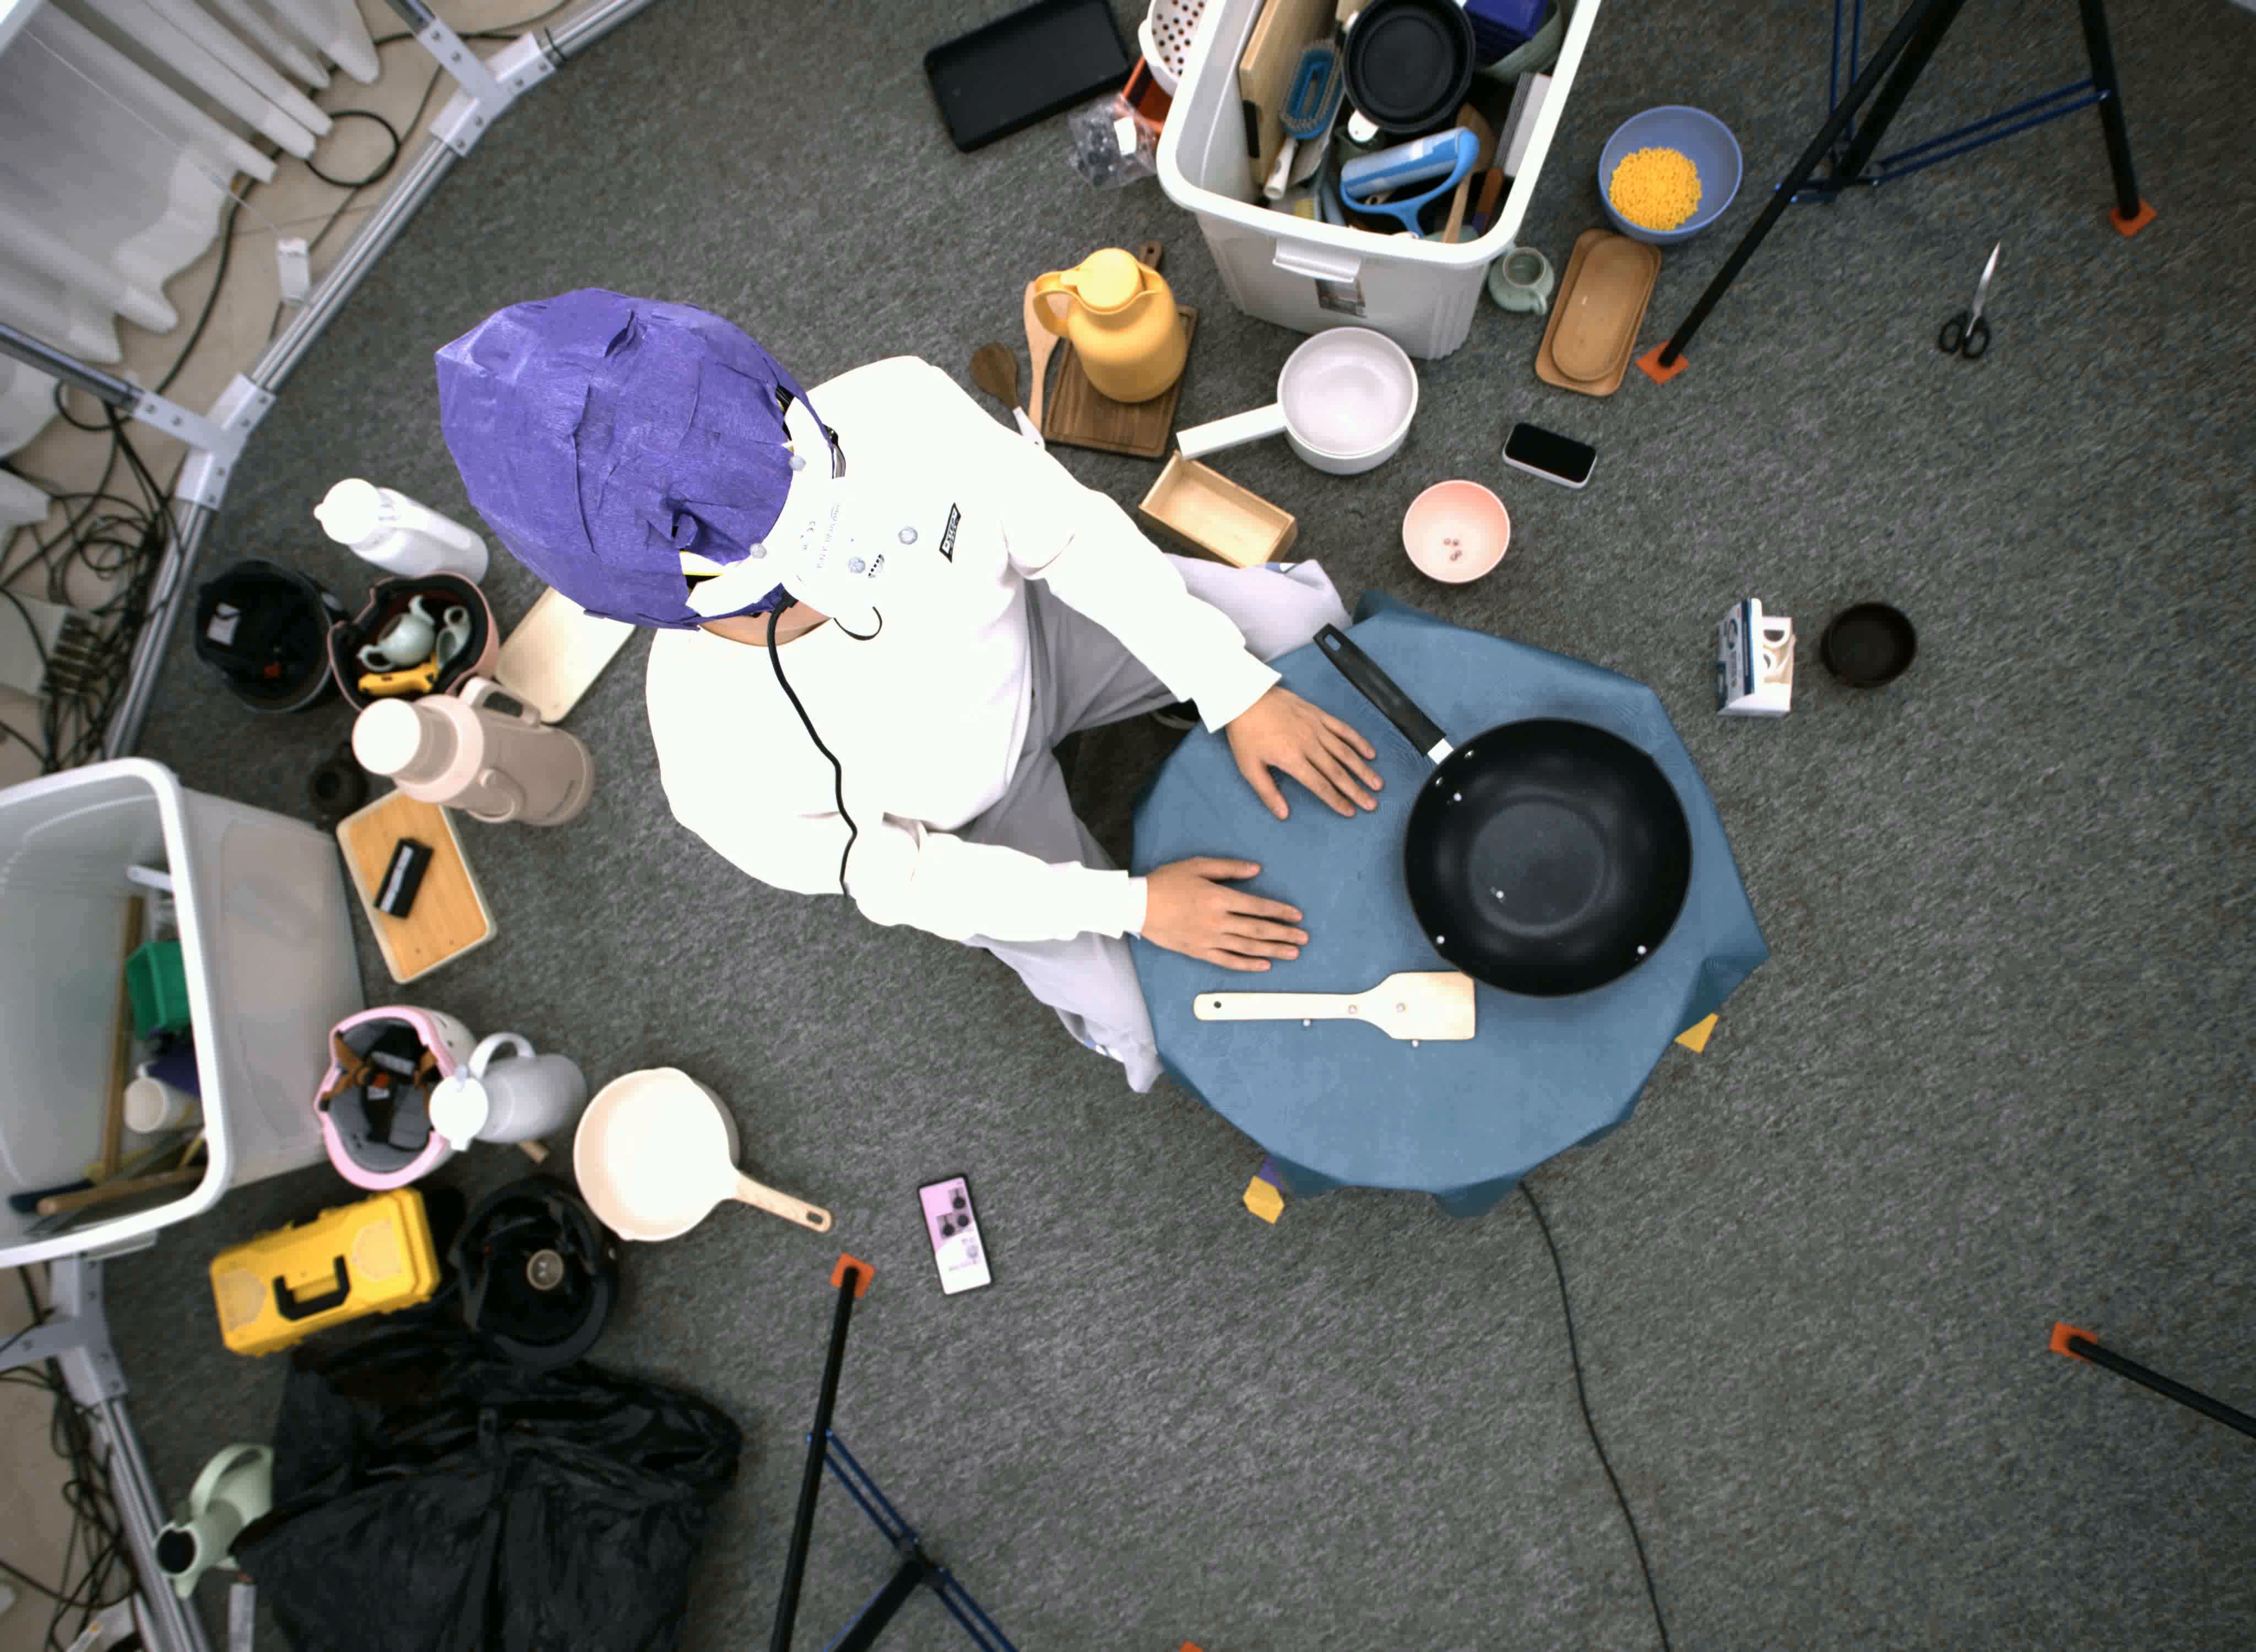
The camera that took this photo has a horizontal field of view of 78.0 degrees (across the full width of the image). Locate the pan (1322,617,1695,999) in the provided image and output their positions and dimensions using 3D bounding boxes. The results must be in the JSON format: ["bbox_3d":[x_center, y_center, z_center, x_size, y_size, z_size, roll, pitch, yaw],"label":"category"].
[{"bbox_3d":[0.359,-0.033,1.407,0.289,0.087,0.460,-43,78,5],"label":"pan"}]

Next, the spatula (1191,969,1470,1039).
[{"bbox_3d":[0.211,0.187,1.460,0.294,0.010,0.072,-2,88,11],"label":"spatula"}]
